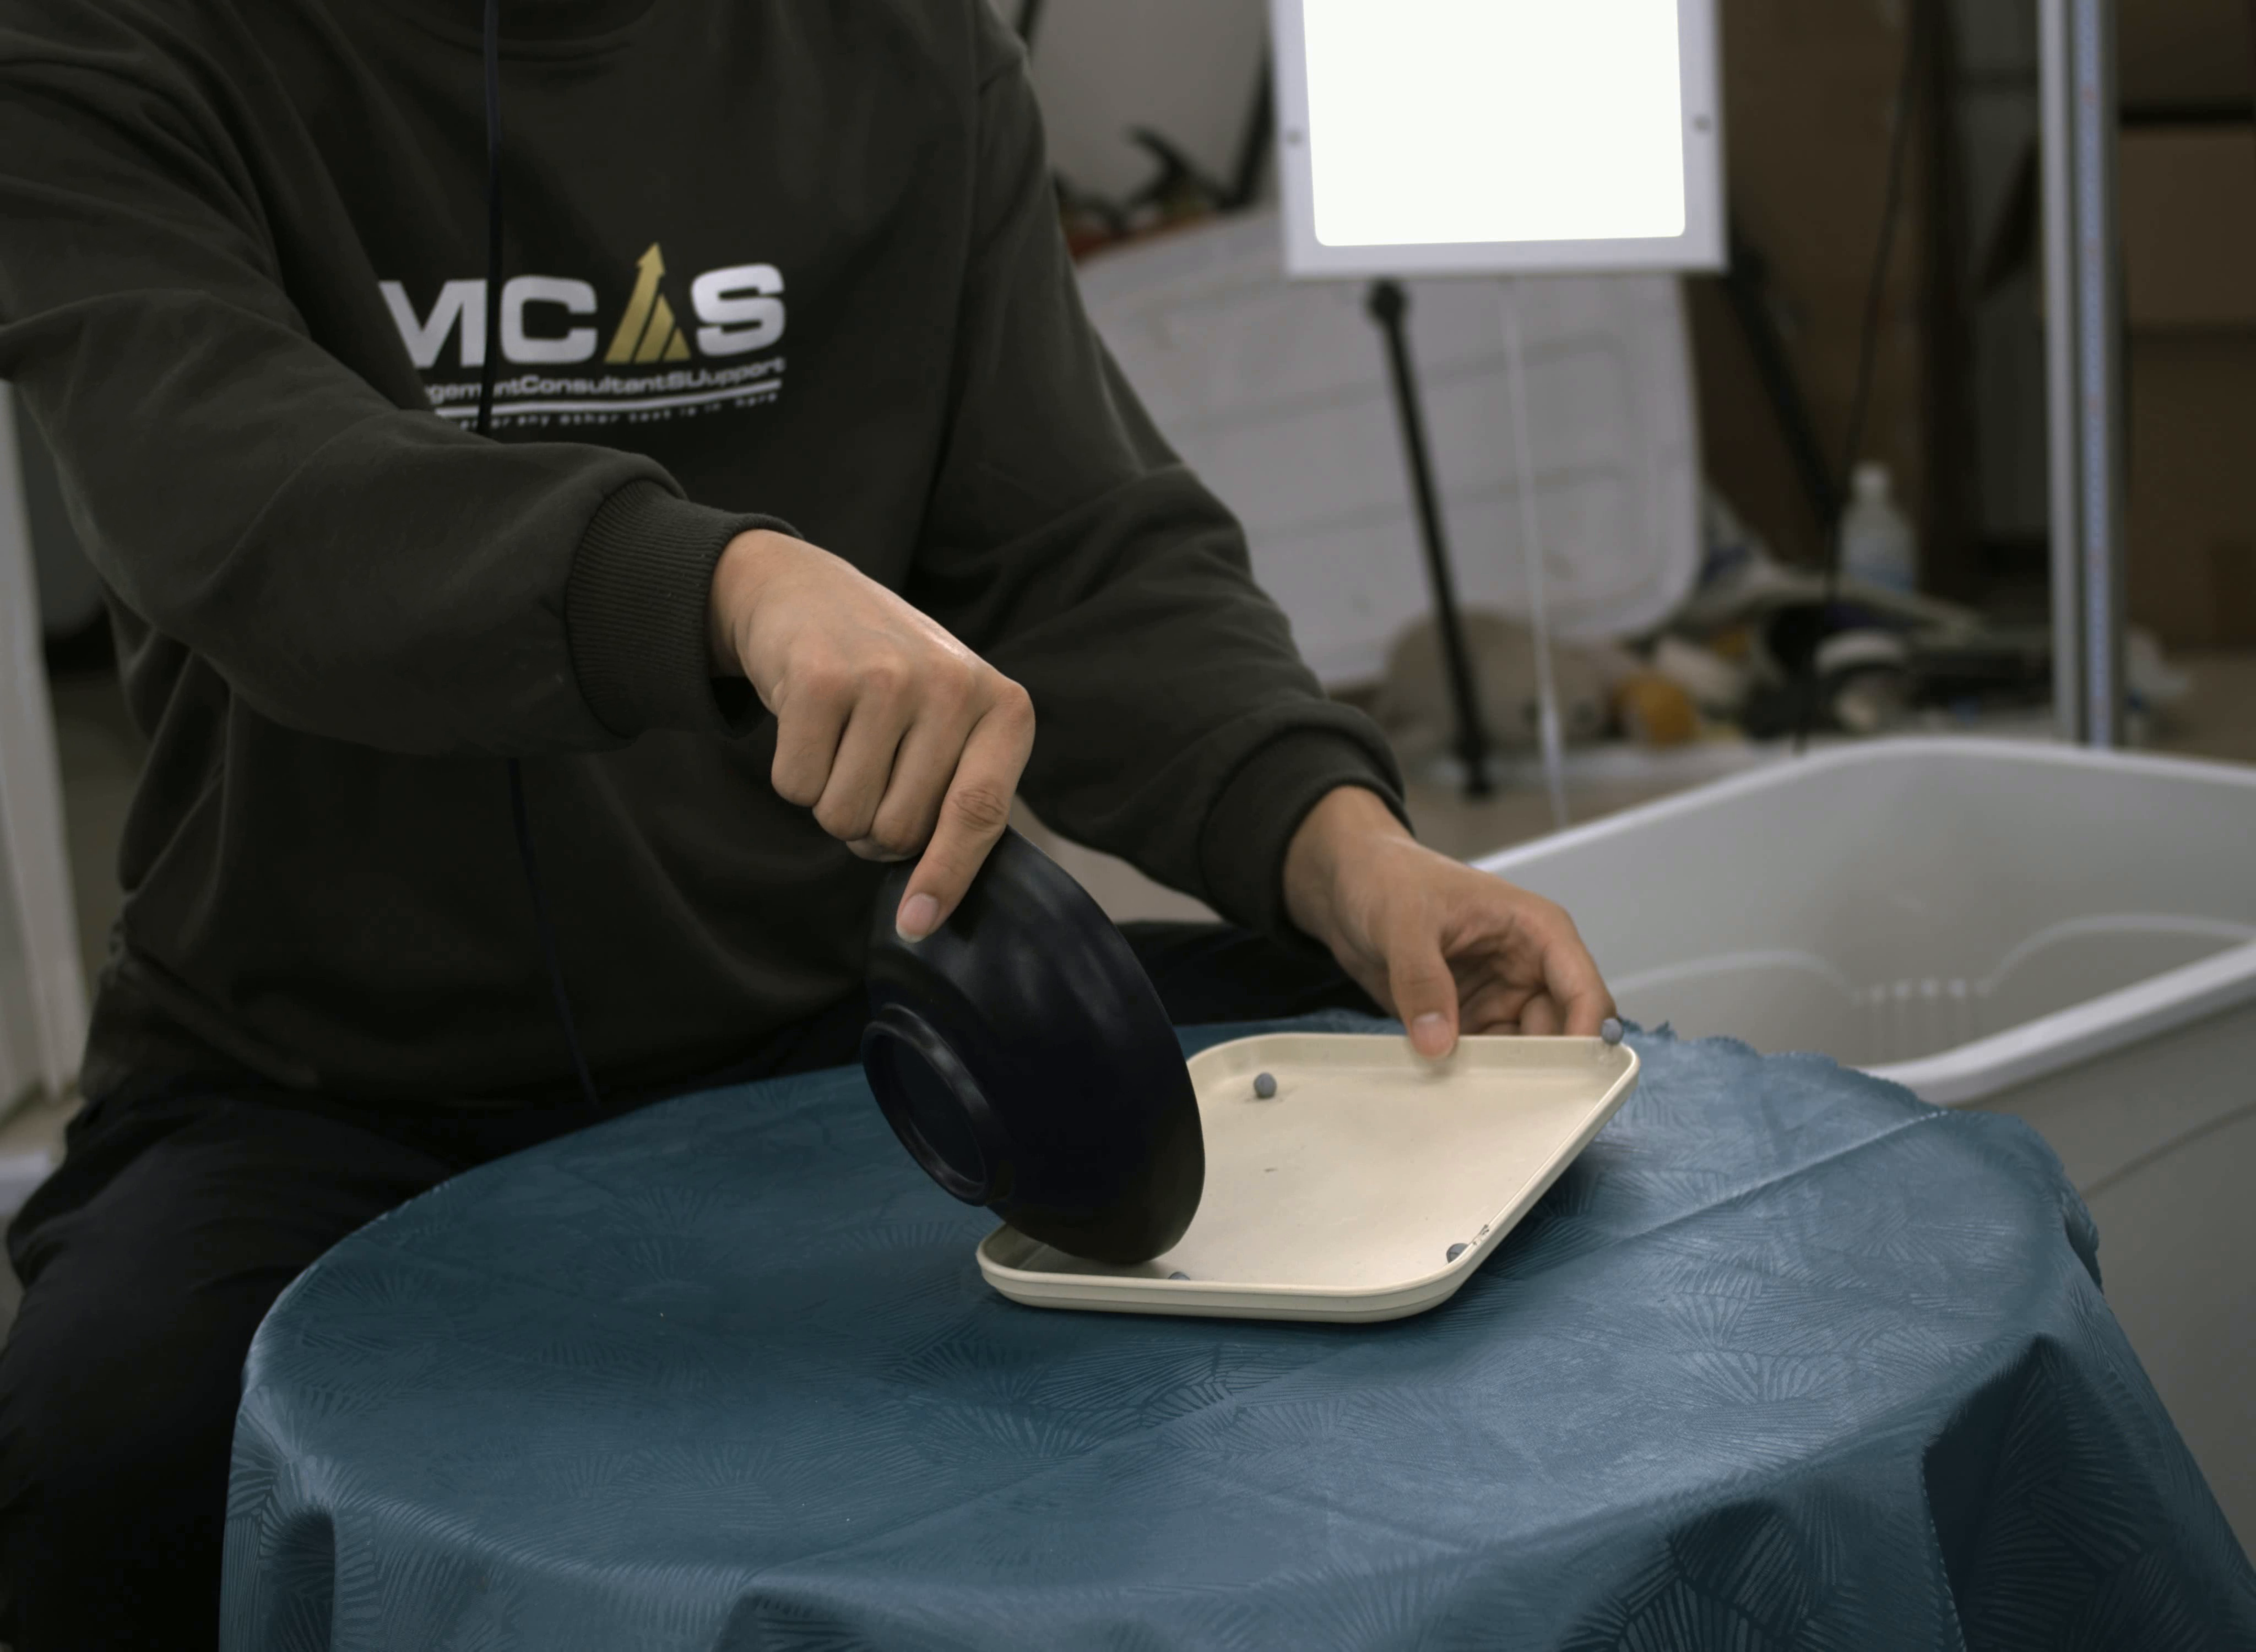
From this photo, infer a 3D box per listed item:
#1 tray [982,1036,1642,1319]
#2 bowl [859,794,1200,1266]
[{"bbox_3d":[0.066,0.117,1.850,0.174,0.017,0.235,-1,17,26],"label":"tray"},{"bbox_3d":[-0.044,0.076,1.783,0.065,0.170,0.140,-31,19,-22],"label":"bowl"}]
